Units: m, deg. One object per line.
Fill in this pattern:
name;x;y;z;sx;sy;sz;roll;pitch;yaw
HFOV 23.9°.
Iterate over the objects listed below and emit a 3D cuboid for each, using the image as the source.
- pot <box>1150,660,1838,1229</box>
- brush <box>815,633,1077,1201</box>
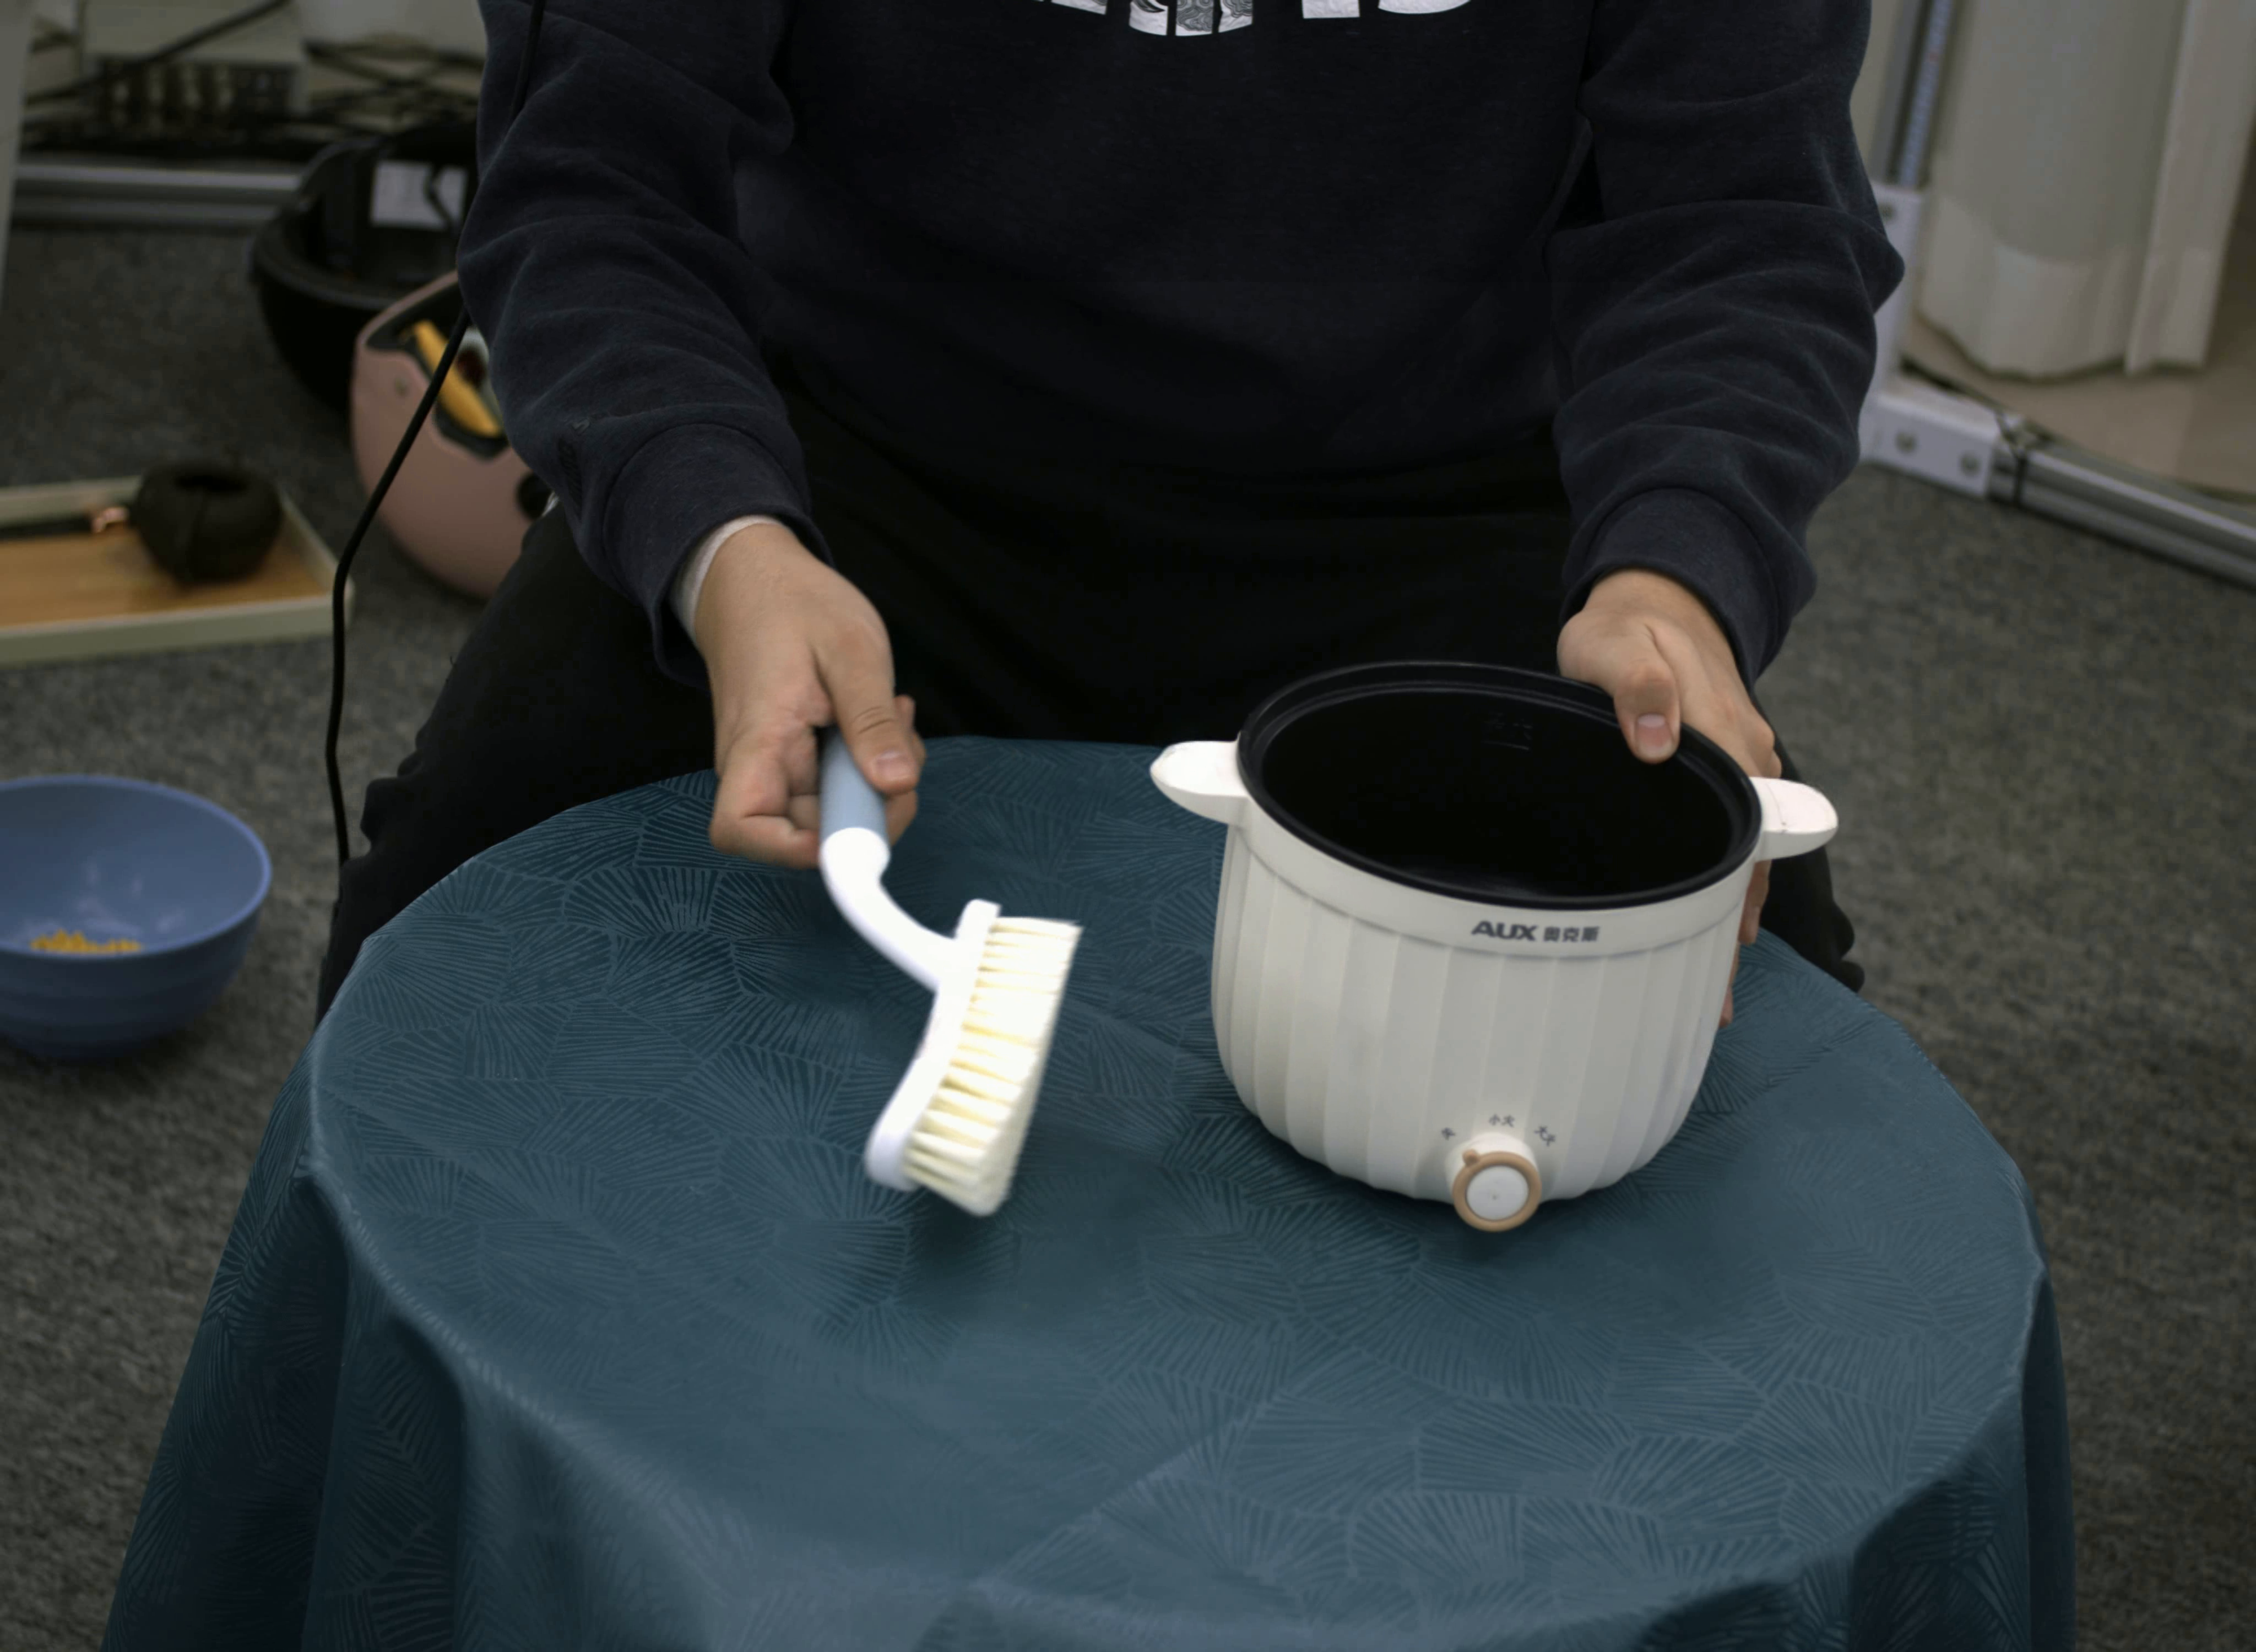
pot;0.121;0.044;1.840;0.239;0.142;0.192;3;24;-7
brush;-0.054;0.022;1.857;0.084;0.083;0.328;43;20;-26
